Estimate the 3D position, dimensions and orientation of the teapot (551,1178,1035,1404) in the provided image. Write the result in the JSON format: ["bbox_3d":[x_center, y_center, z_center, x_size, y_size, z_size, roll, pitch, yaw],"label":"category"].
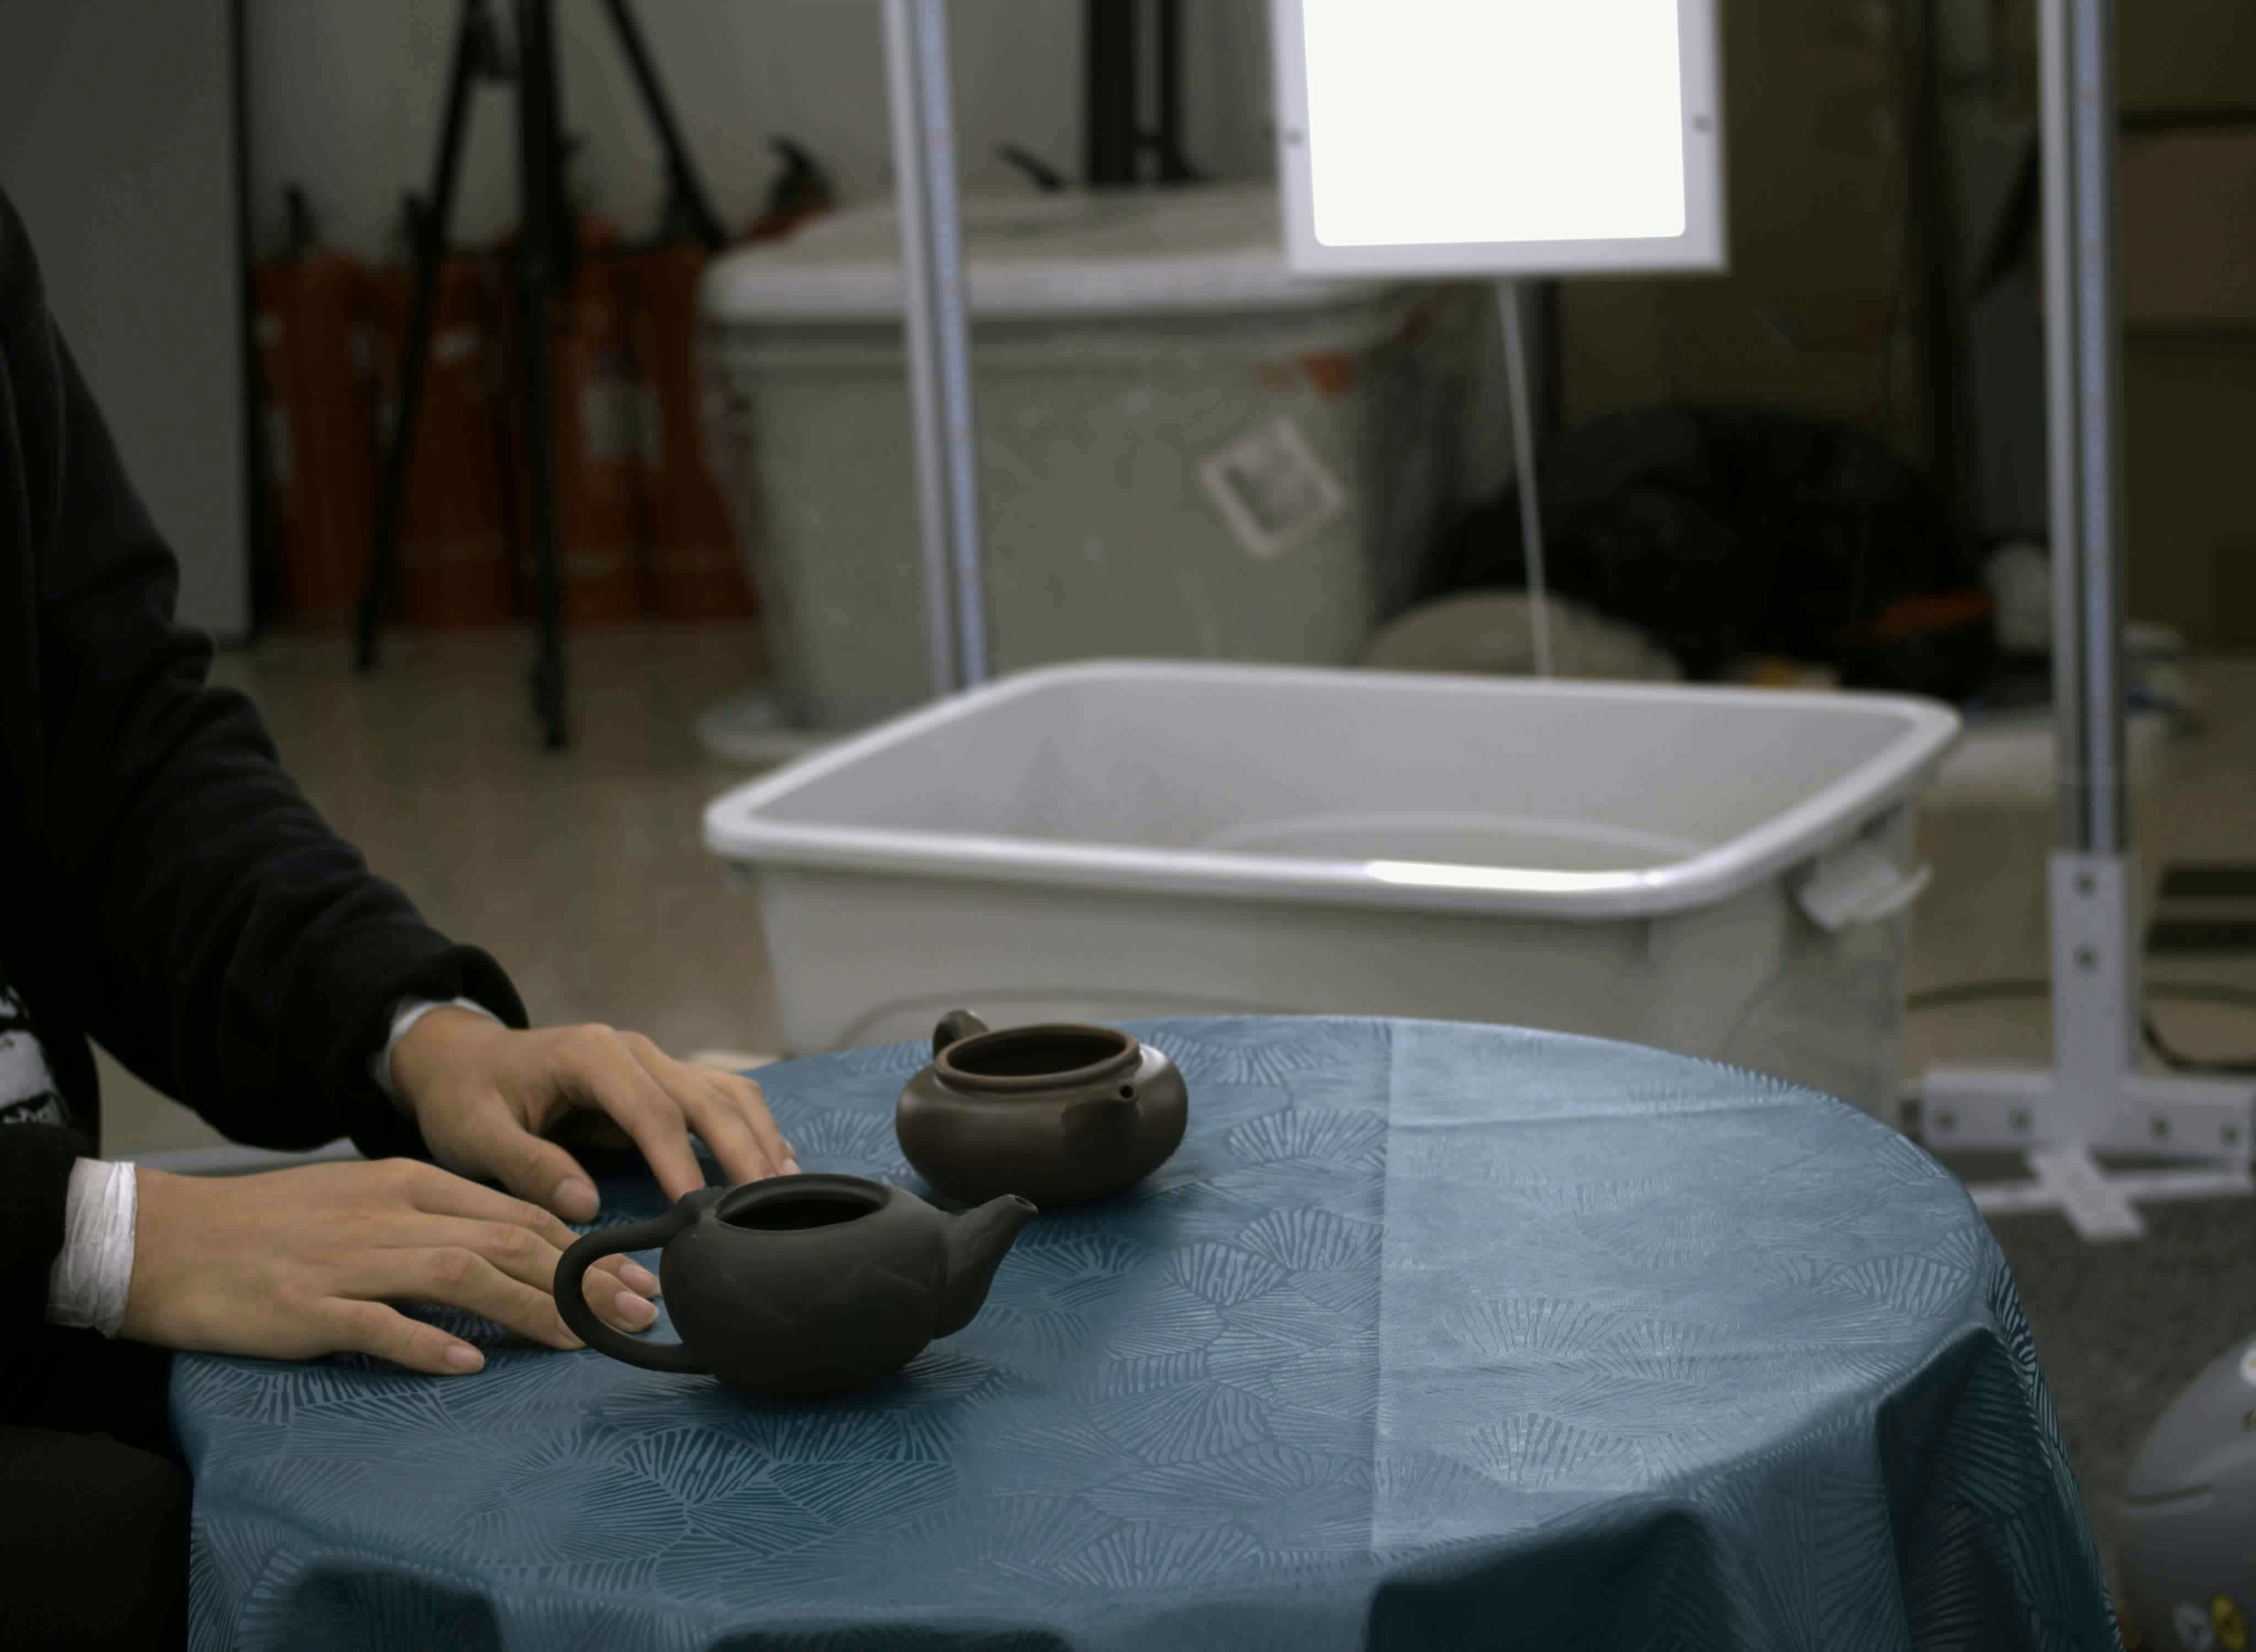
[{"bbox_3d":[-0.104,0.144,1.734,0.154,0.064,0.092,-4,12,1],"label":"teapot"}]

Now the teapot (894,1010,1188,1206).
[{"bbox_3d":[-0.032,0.098,1.915,0.100,0.054,0.156,-11,15,-29],"label":"teapot"}]
